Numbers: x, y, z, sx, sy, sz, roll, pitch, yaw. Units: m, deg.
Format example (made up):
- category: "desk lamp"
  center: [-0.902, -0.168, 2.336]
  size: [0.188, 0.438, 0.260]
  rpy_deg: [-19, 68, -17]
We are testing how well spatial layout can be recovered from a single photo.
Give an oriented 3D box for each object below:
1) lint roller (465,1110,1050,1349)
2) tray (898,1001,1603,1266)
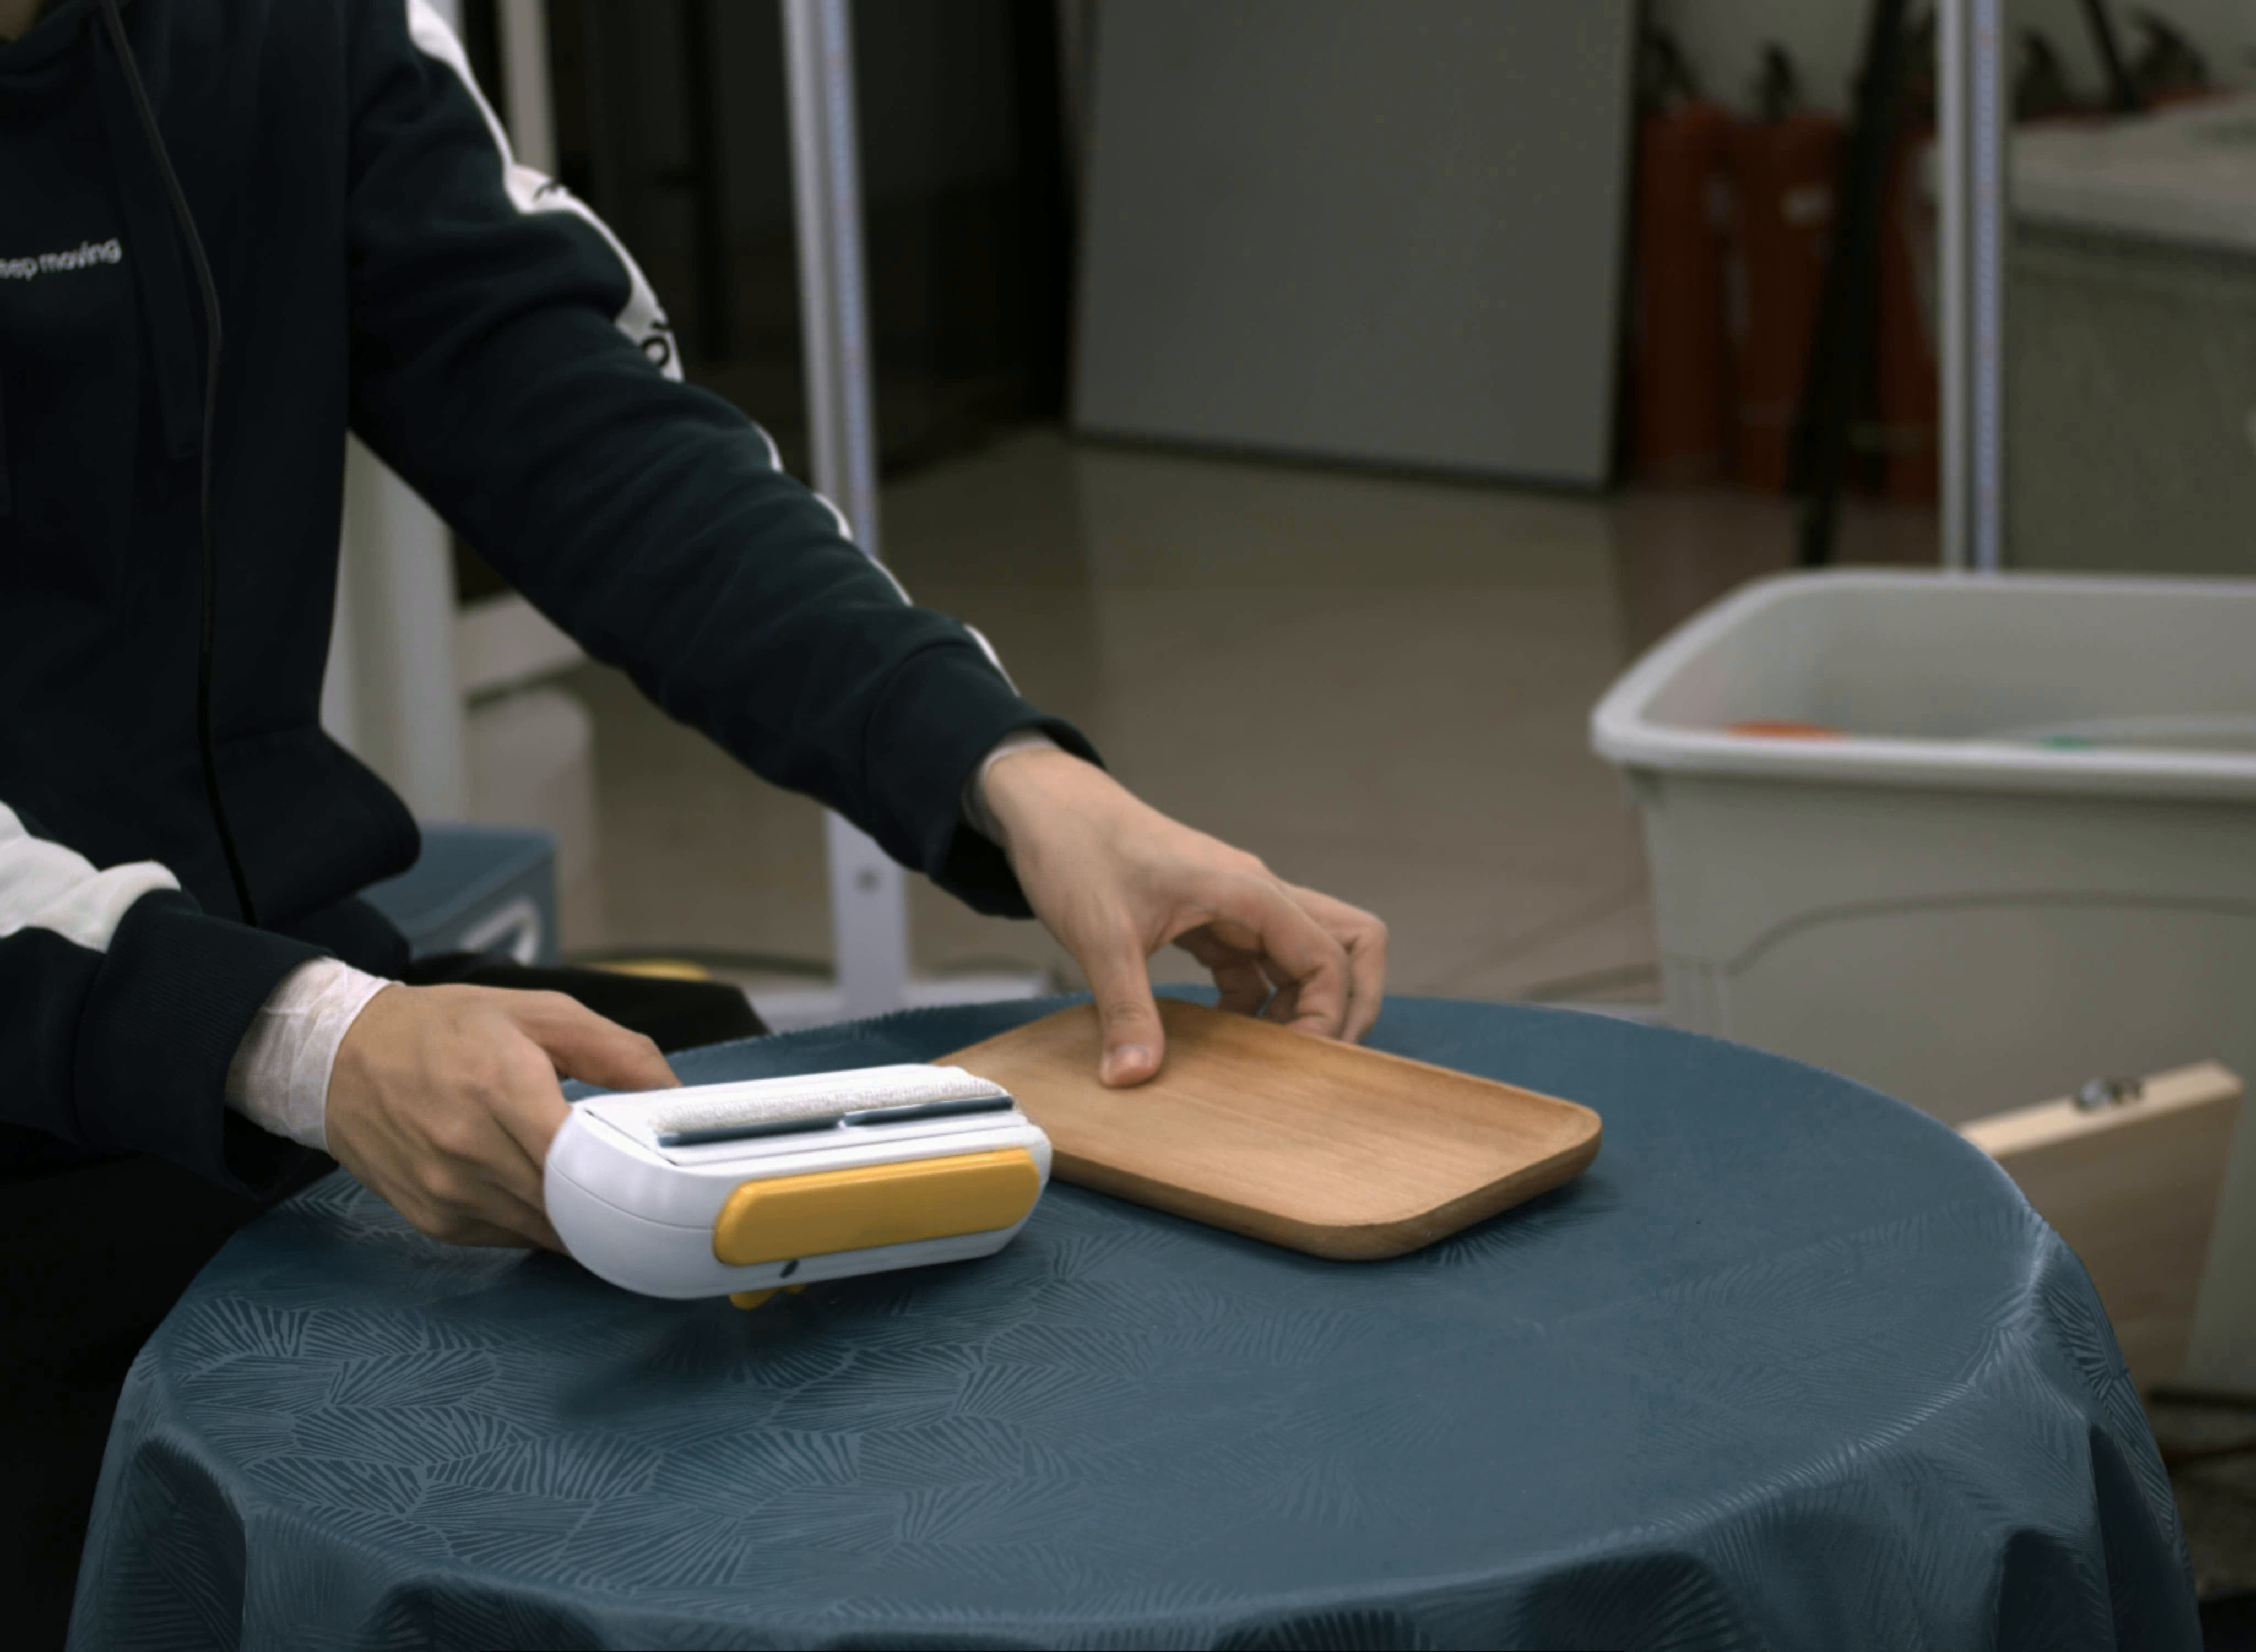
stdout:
- category: "lint roller"
  center: [-0.144, 0.123, 1.712]
  size: [0.188, 0.075, 0.194]
  rpy_deg: [-5, 3, -43]
- category: "tray"
  center: [0.038, 0.101, 1.798]
  size: [0.128, 0.023, 0.253]
  rpy_deg: [-16, 18, -37]
